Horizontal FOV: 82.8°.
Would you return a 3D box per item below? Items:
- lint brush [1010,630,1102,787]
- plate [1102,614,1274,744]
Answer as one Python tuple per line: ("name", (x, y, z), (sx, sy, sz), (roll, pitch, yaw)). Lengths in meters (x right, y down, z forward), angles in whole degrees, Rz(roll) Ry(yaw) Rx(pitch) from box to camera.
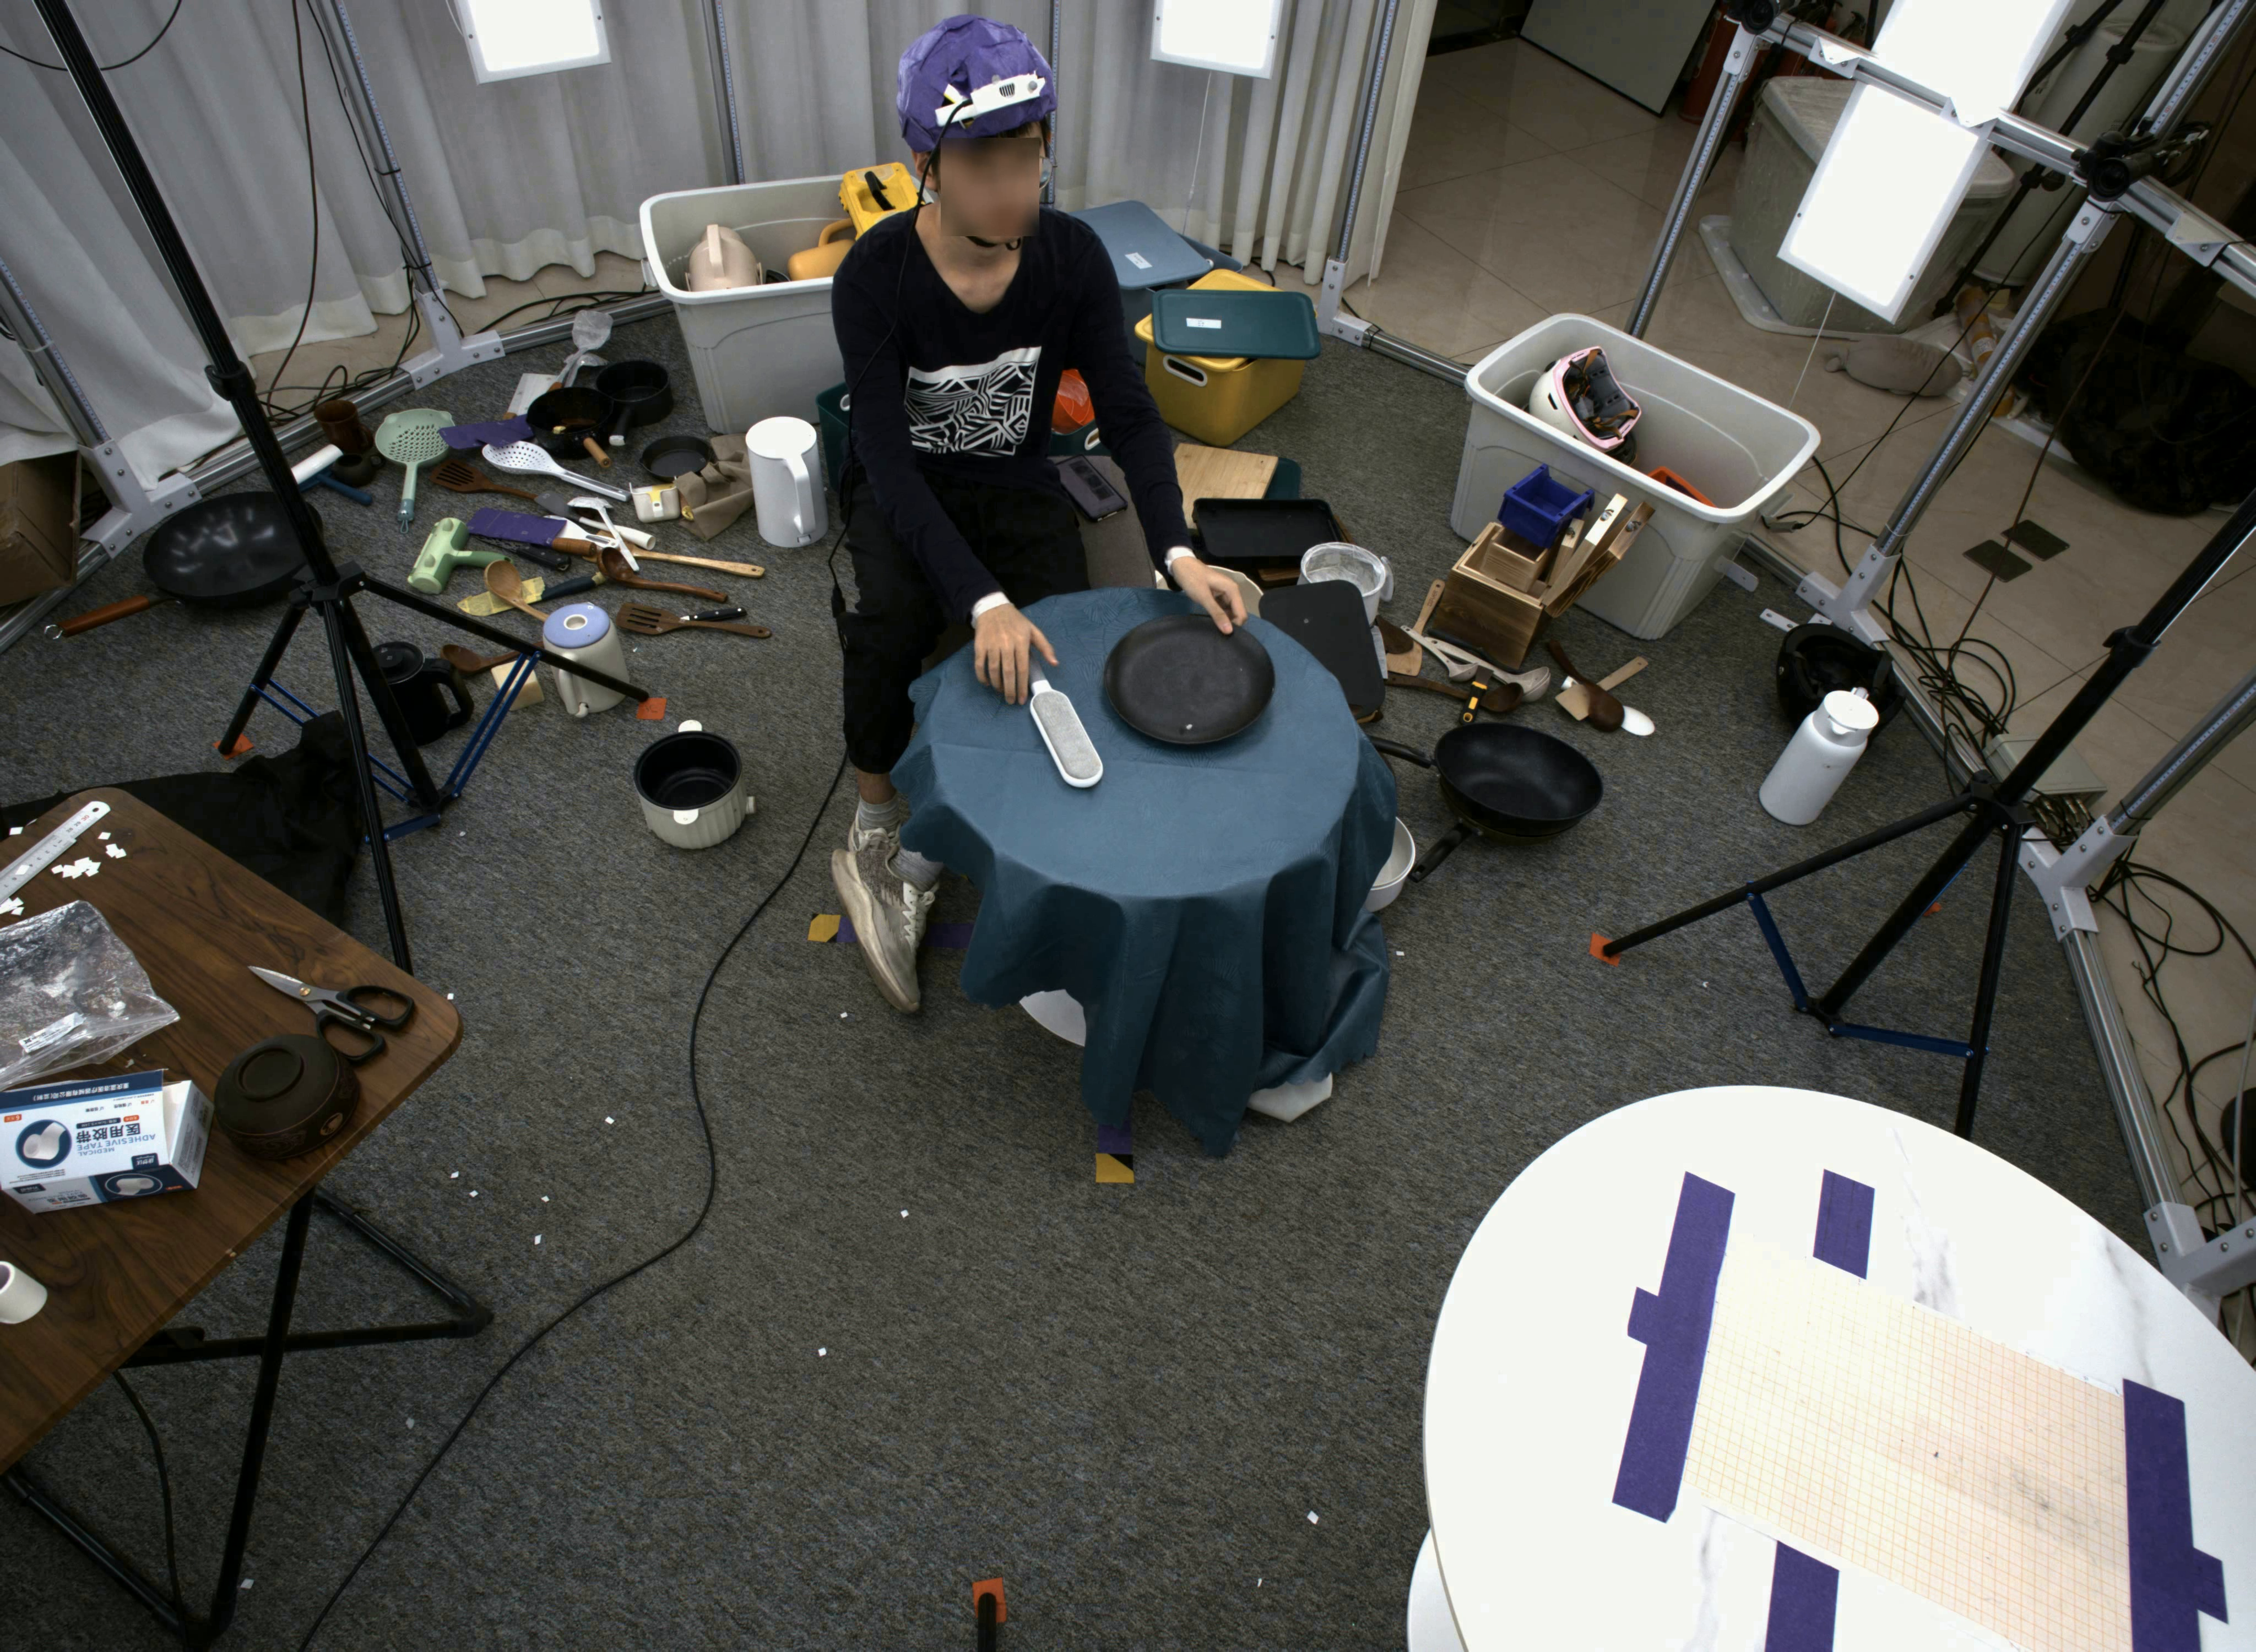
("lint brush", (-0.107, -0.170, 1.790), (0.060, 0.020, 0.316), (-17, 52, -11))
("plate", (0.085, -0.207, 1.825), (0.244, 0.023, 0.250), (-1, 54, 1))
